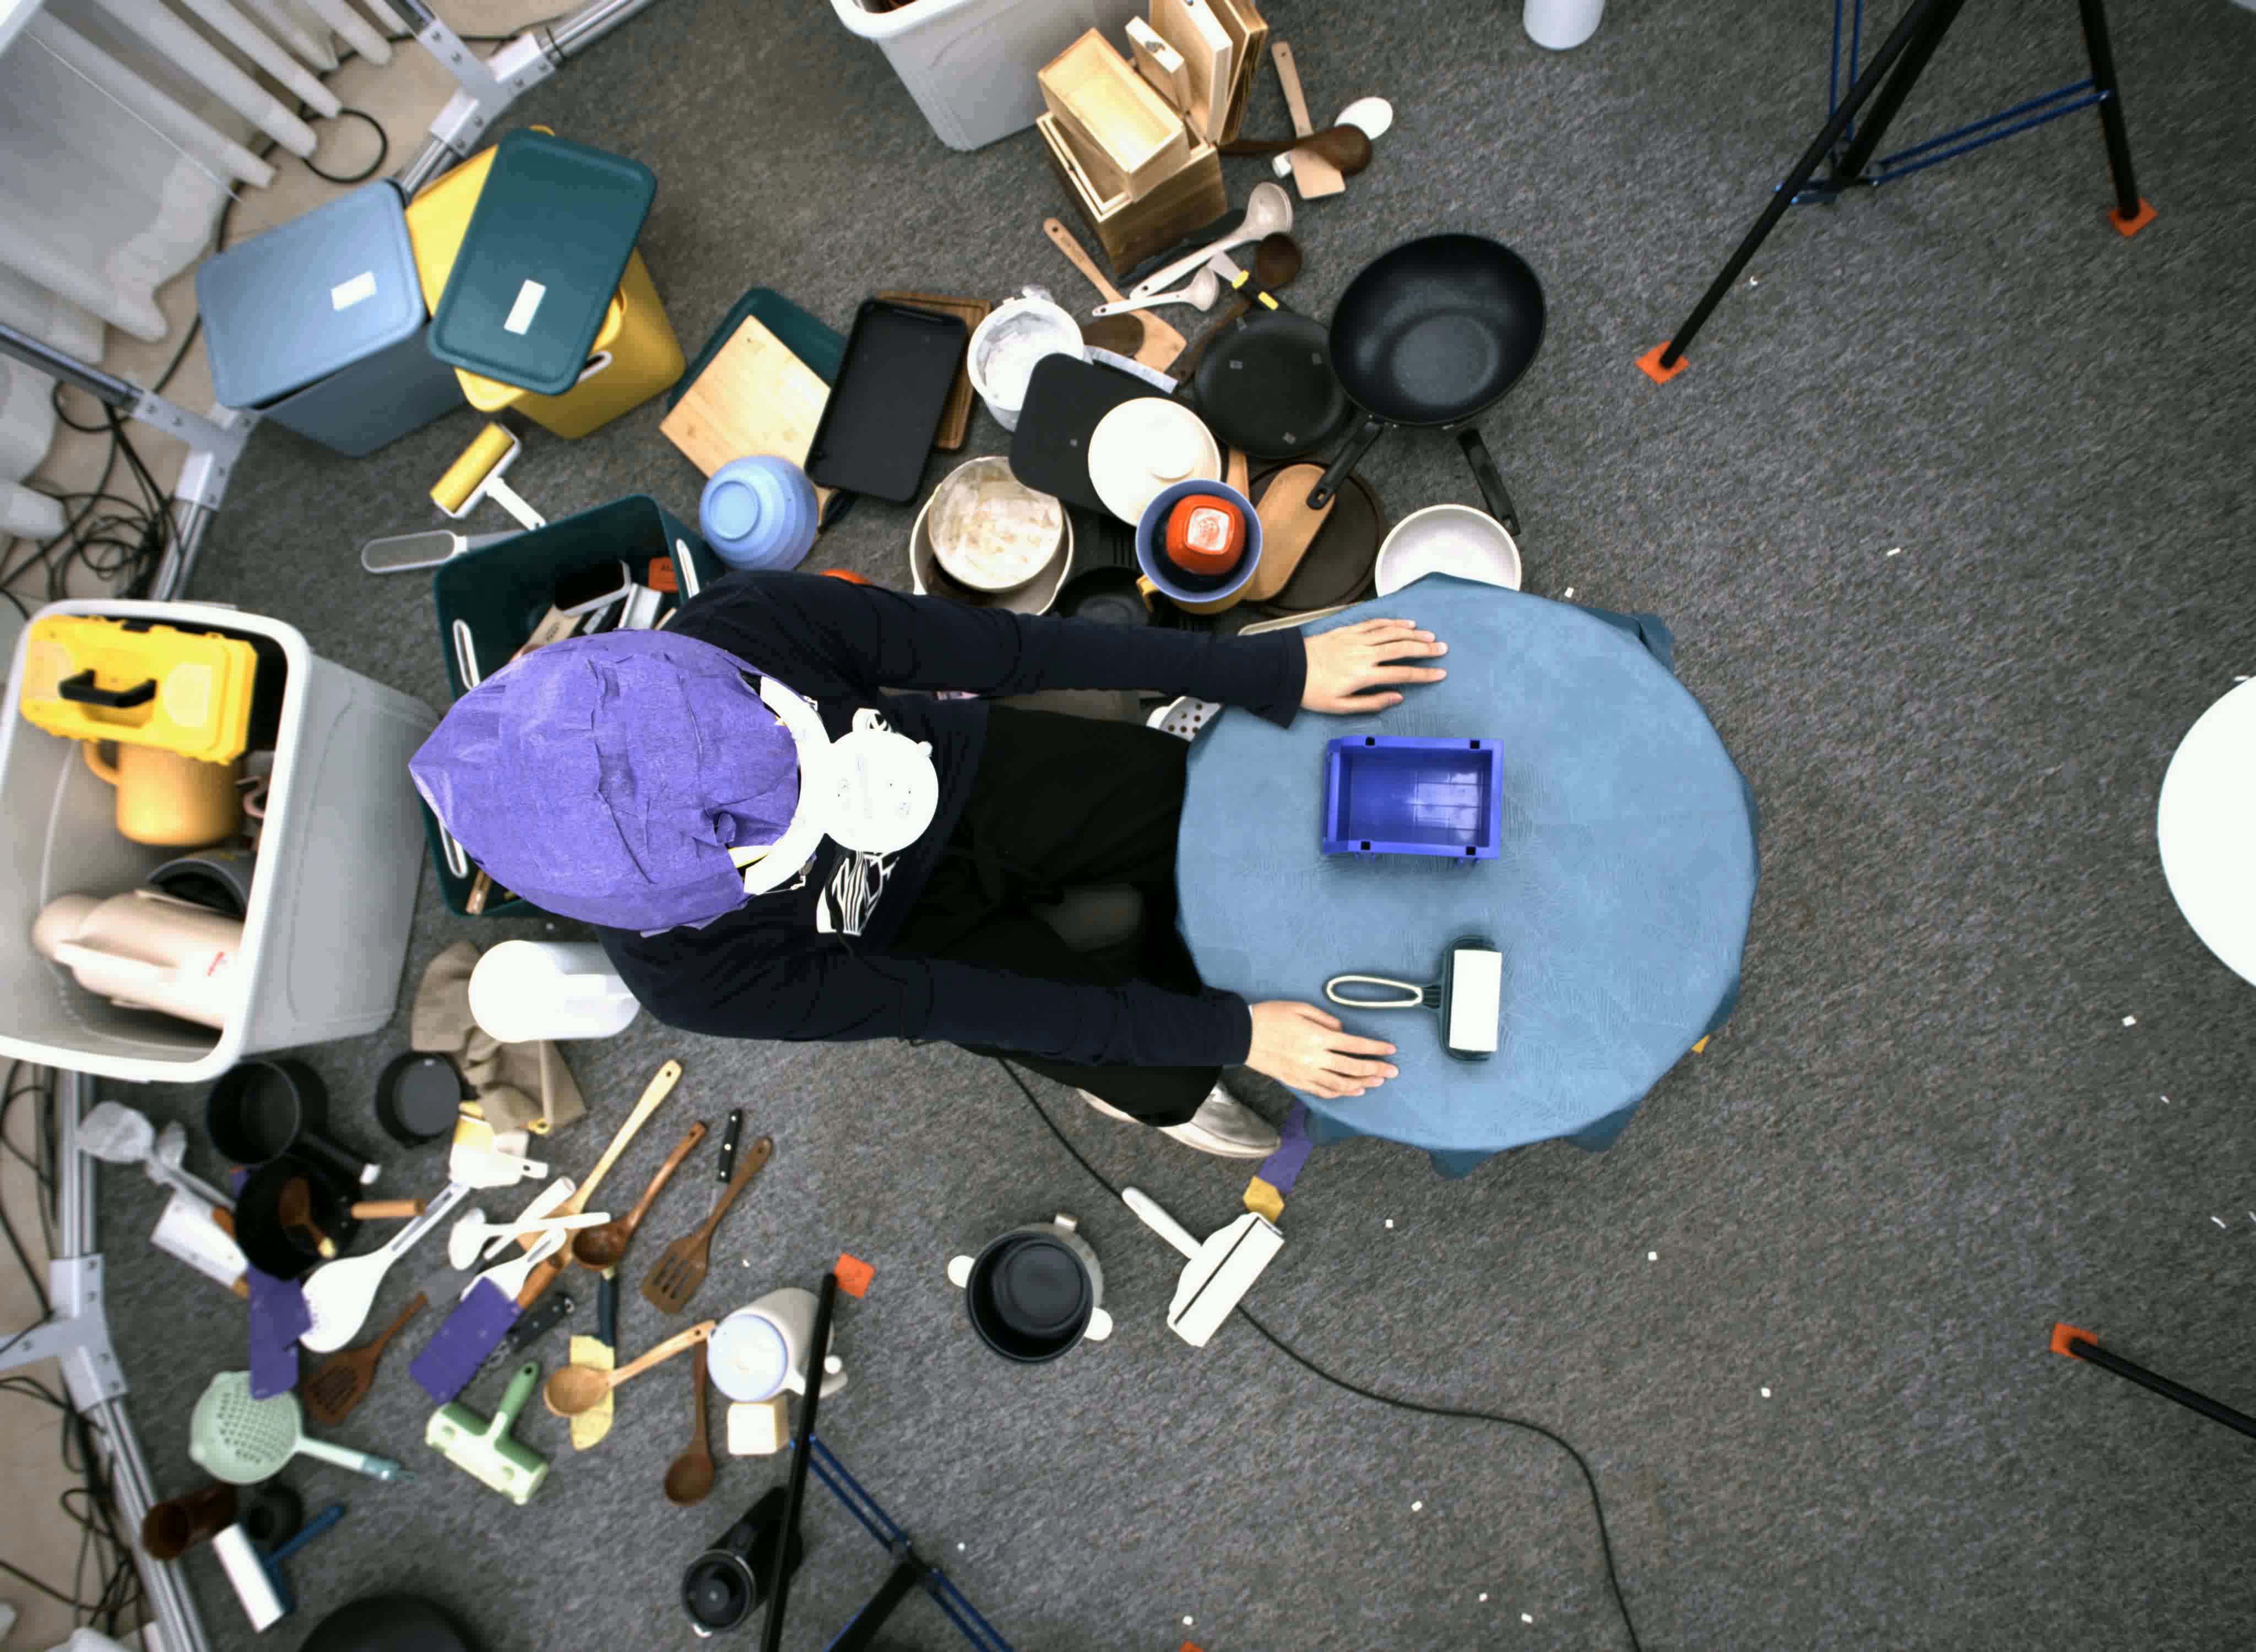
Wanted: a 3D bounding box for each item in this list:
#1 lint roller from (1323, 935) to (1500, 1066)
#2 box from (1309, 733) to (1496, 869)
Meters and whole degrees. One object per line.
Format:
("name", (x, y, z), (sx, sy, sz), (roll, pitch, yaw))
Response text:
("lint roller", (0.291, 0.174, 1.430), (0.181, 0.048, 0.133), (2, 86, 14))
("box", (0.281, -0.026, 1.422), (0.180, 0.082, 0.124), (4, 88, 8))
